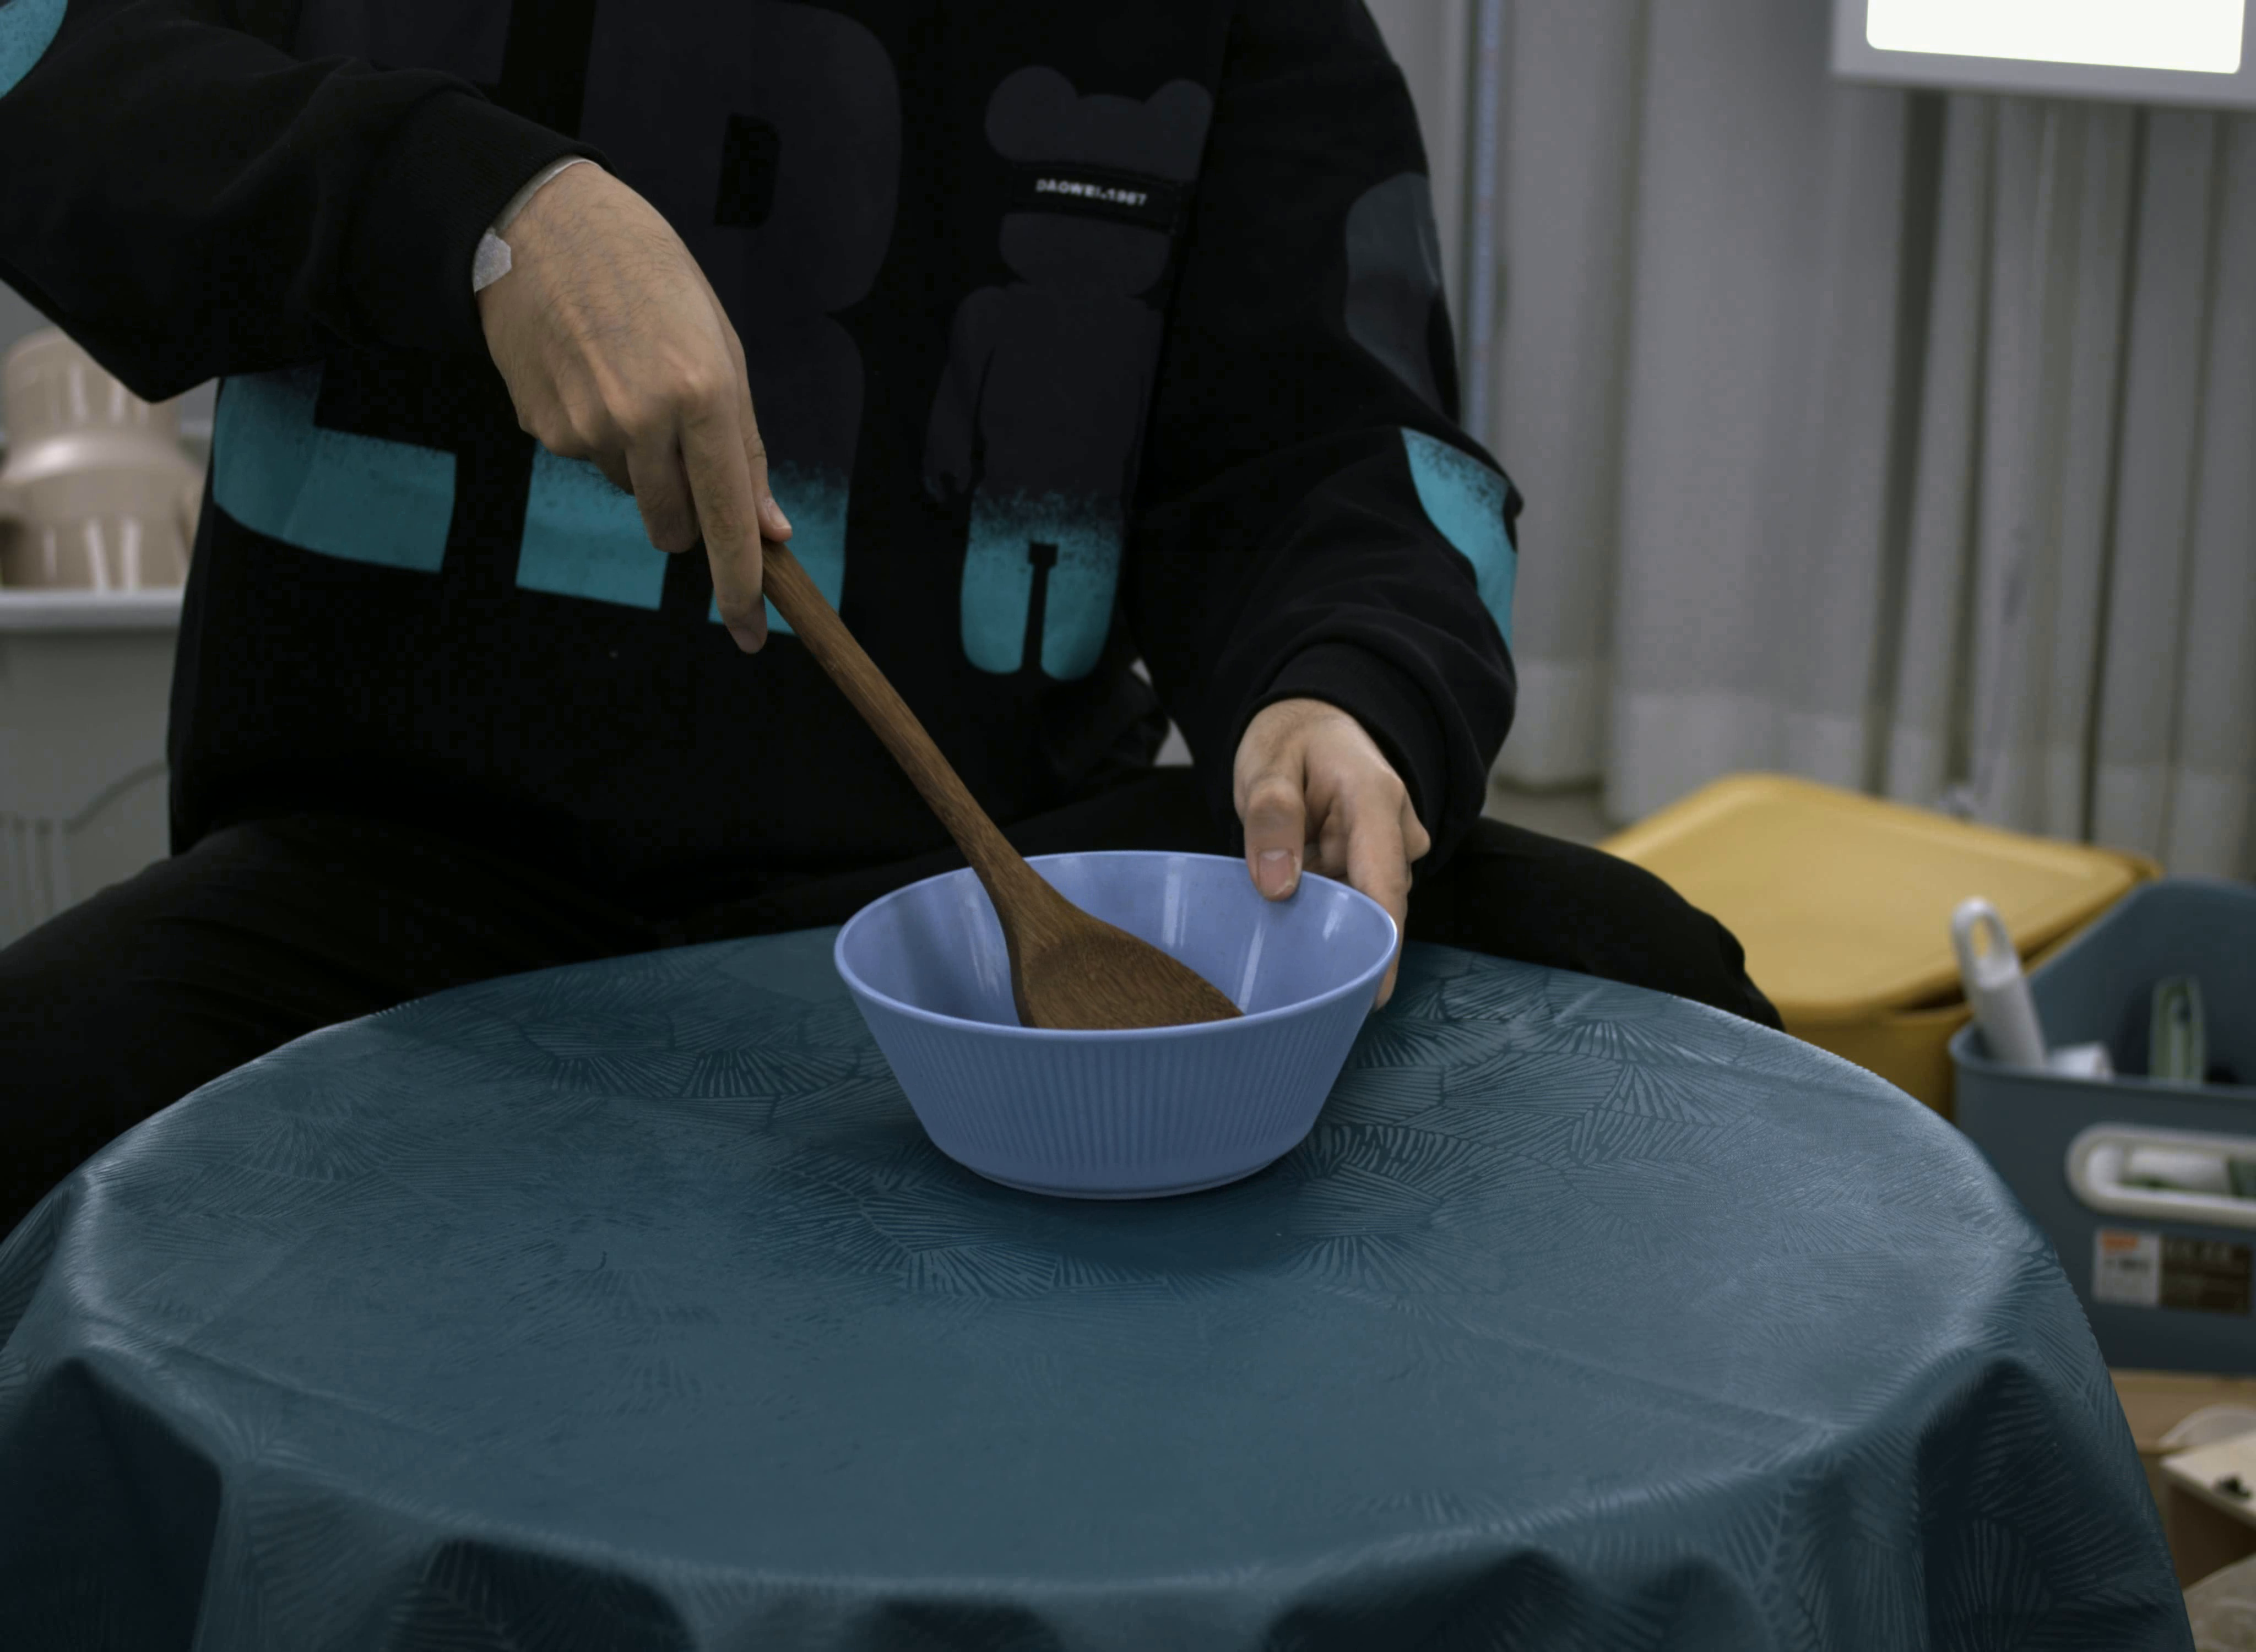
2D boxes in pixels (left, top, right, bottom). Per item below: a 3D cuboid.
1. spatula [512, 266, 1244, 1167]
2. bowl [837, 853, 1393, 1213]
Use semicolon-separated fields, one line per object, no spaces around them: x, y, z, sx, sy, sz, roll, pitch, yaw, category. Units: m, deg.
-0.081;-0.041;1.681;0.383;0.016;0.096;51;34;14;spatula
-0.002;0.069;1.655;0.175;0.071;0.175;-3;20;2;bowl
